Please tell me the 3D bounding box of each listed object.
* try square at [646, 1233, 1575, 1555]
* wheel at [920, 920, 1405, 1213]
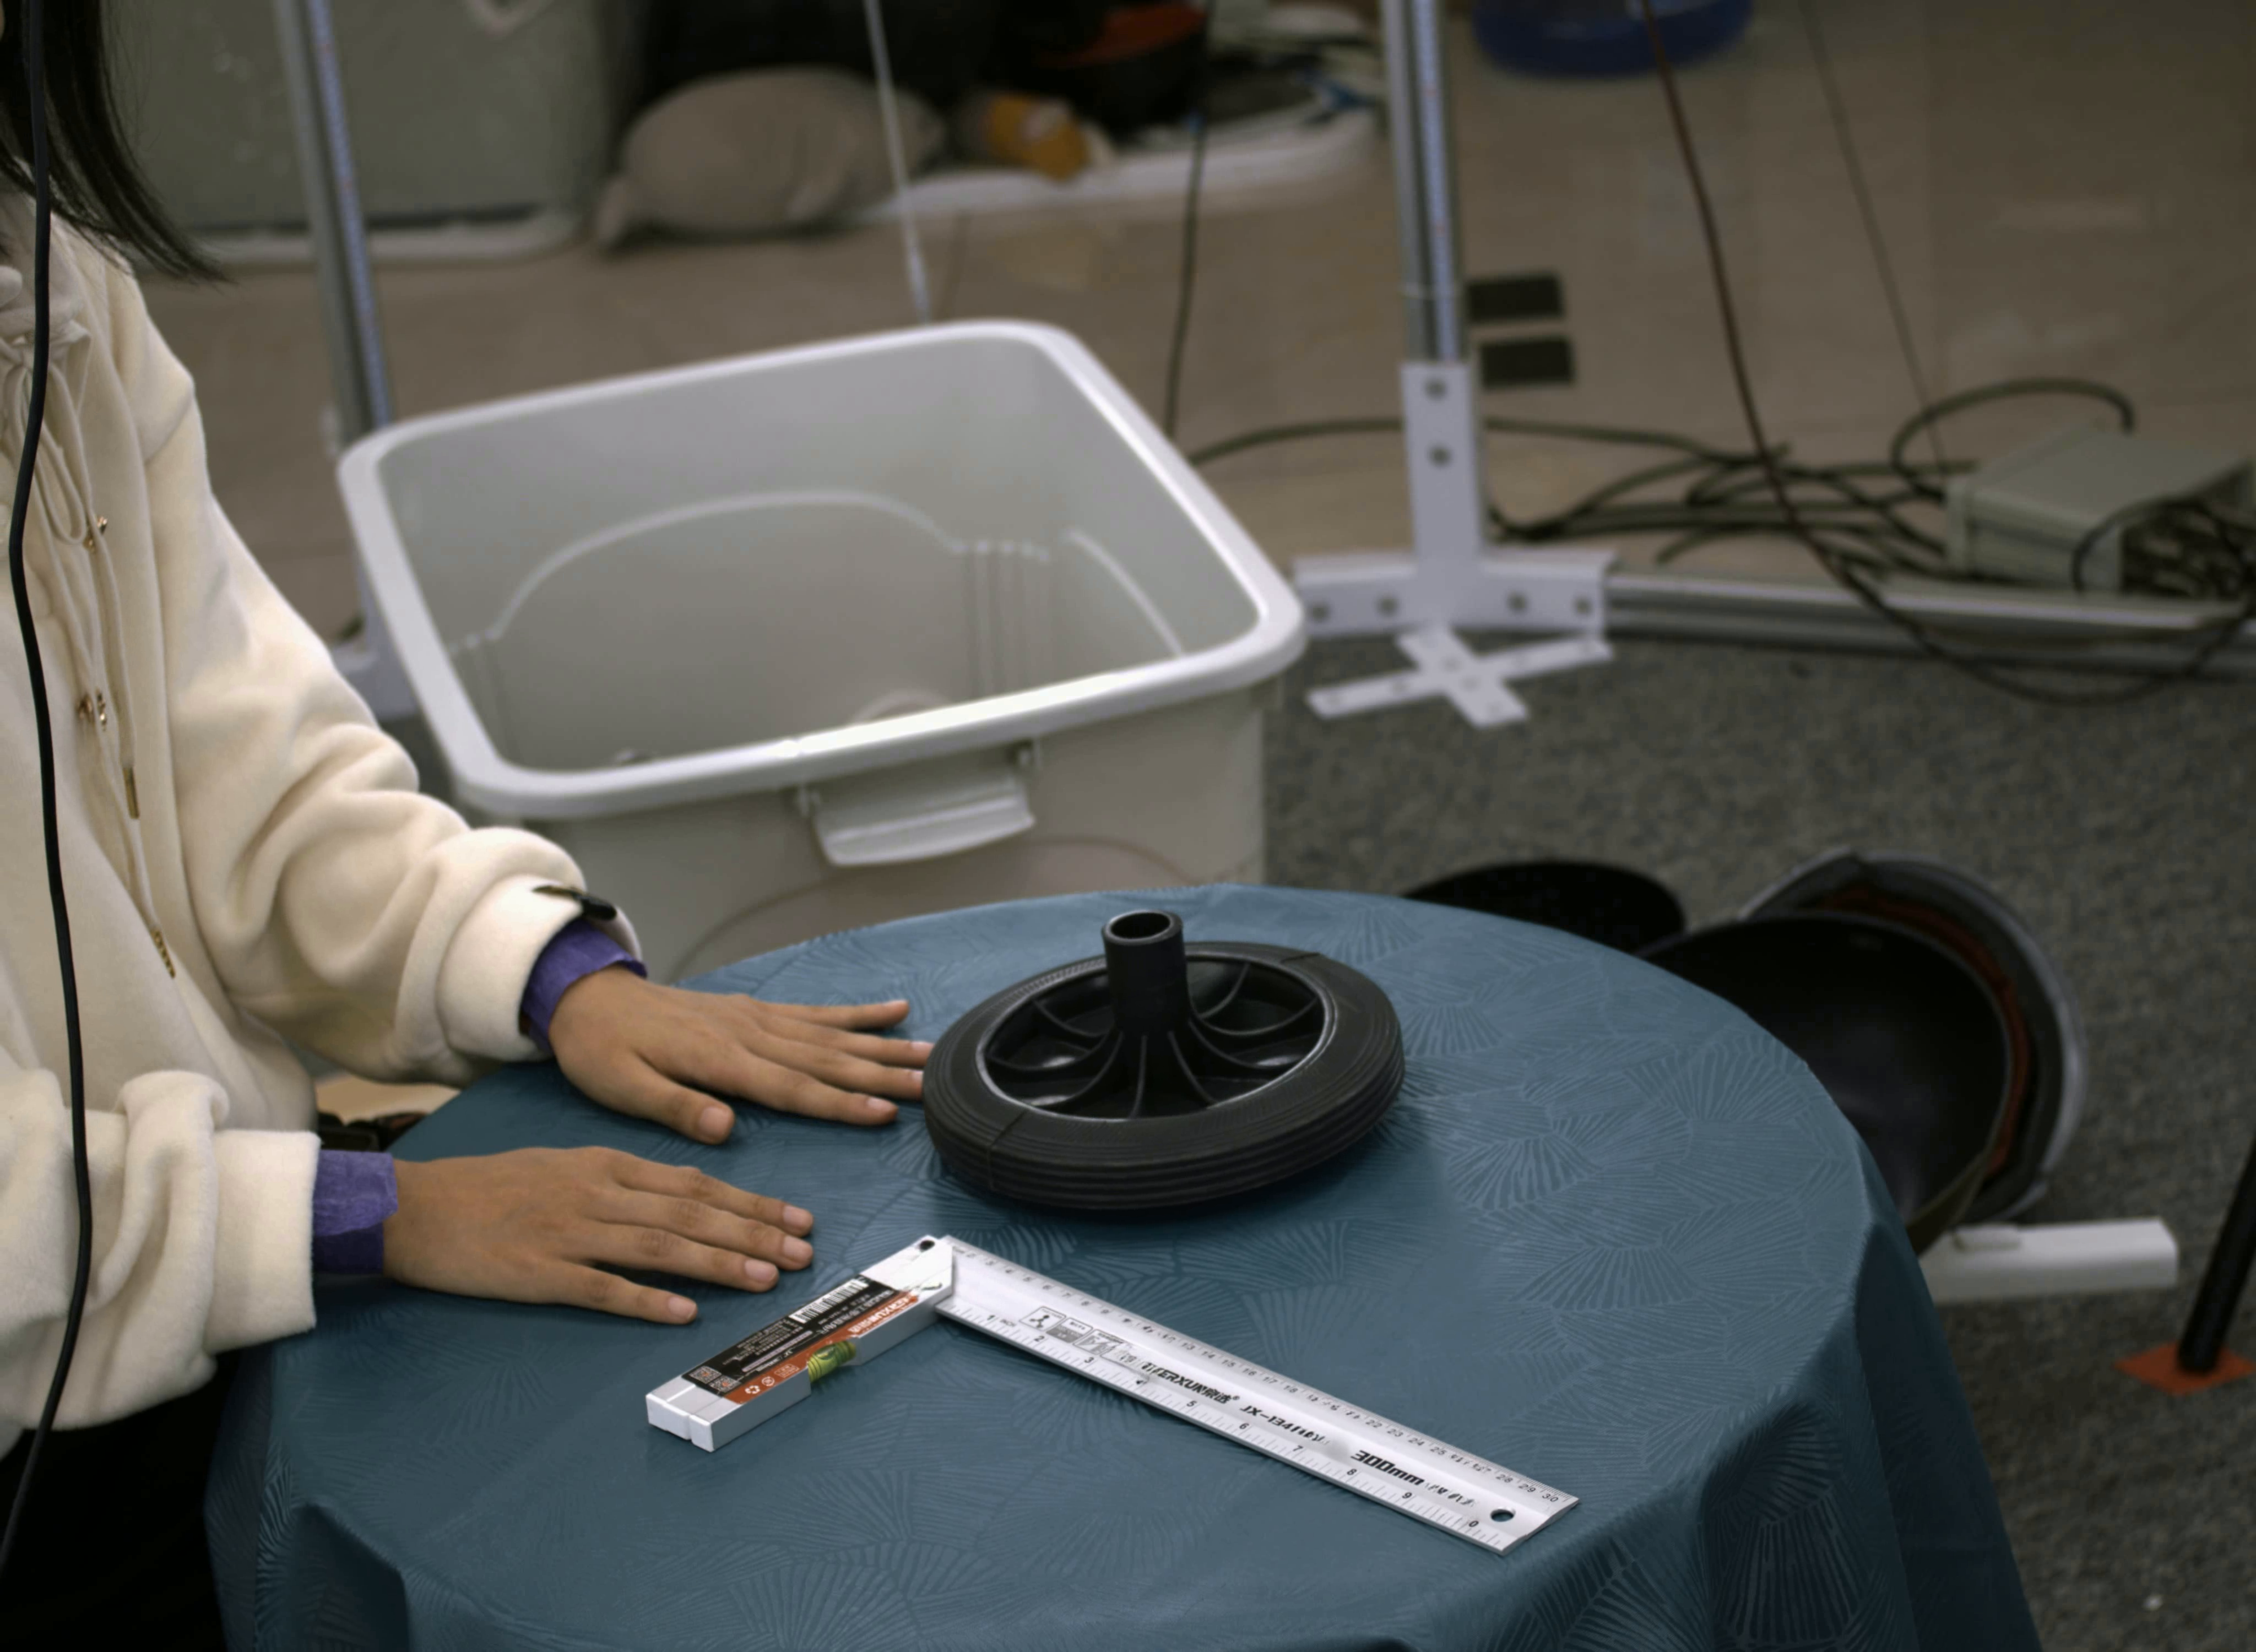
[{"bbox_3d":[-0.011,0.219,1.976,0.310,0.016,0.151,19,38,41],"label":"try square"},{"bbox_3d":[0.010,0.078,2.184,0.187,0.080,0.187,-11,25,-5],"label":"wheel"}]
